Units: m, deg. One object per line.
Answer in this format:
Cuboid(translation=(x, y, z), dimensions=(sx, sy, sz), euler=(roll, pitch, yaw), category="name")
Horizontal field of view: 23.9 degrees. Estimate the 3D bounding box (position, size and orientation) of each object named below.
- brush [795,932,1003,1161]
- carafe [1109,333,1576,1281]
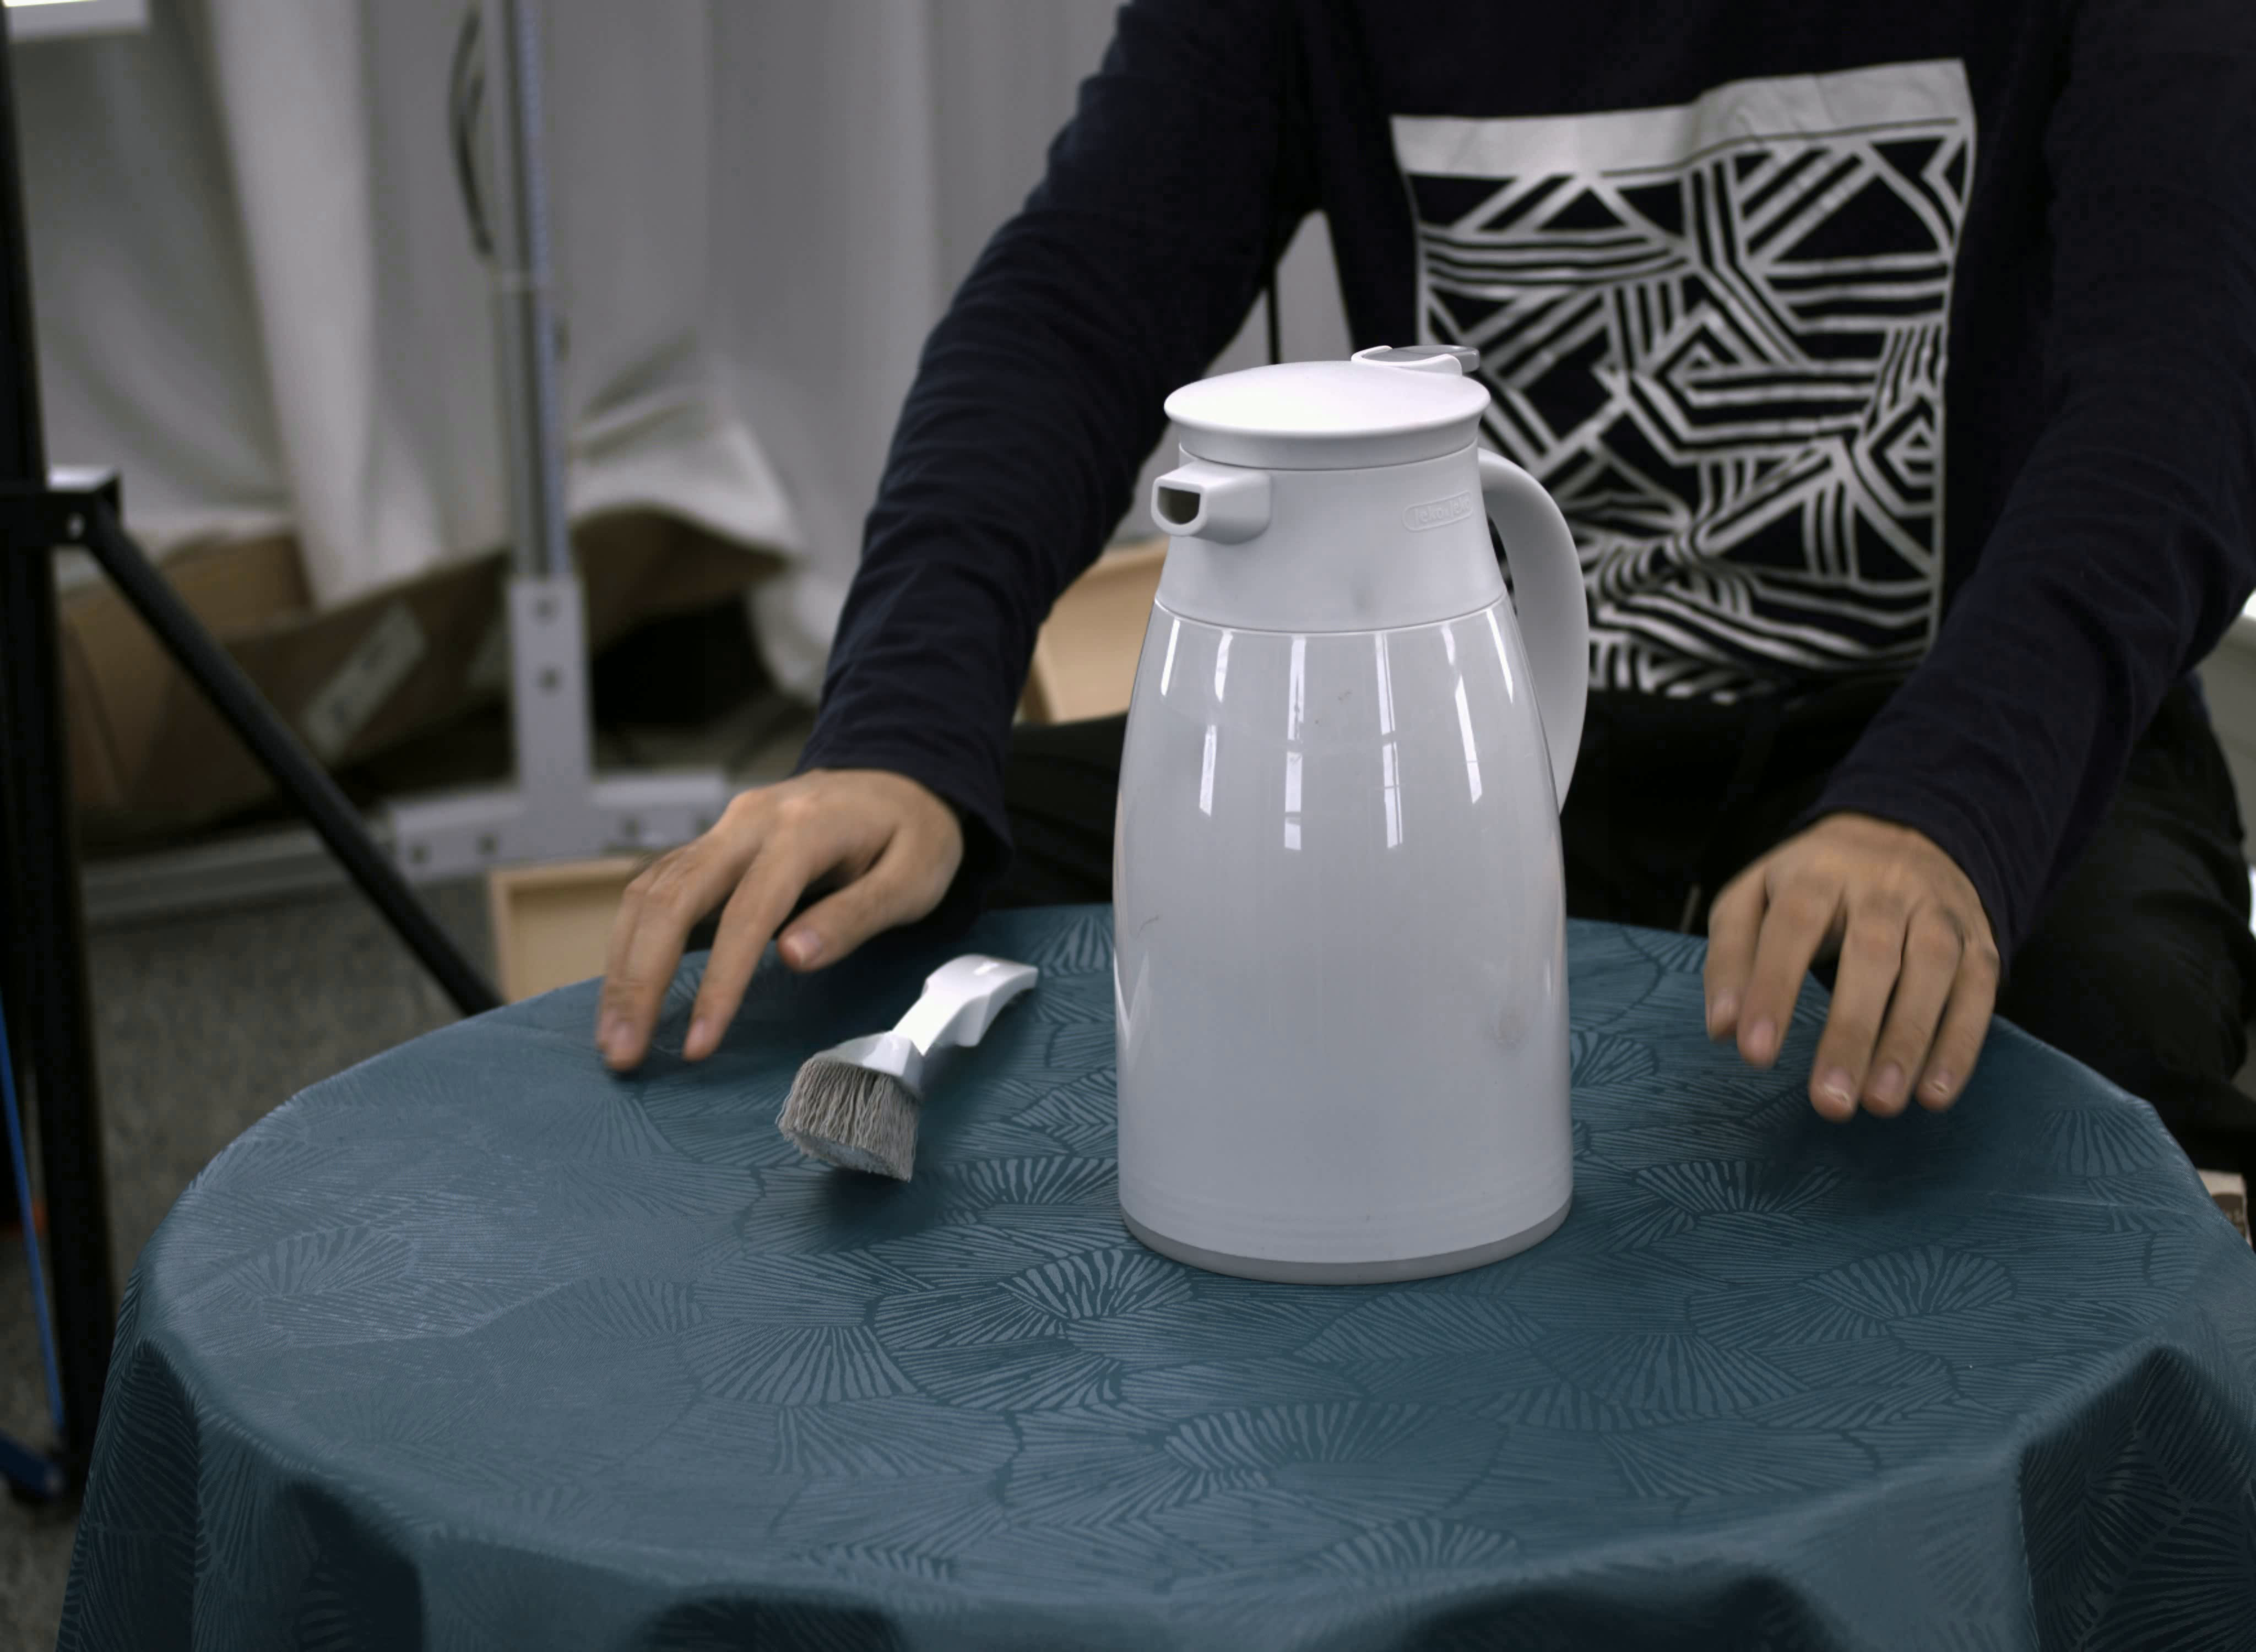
Cuboid(translation=(-0.067, 0.069, 1.650), dimensions=(0.034, 0.050, 0.242), euler=(7, 6, 6), category="brush")
Cuboid(translation=(0.070, -0.014, 1.524), dimensions=(0.135, 0.248, 0.164), euler=(11, 19, 41), category="carafe")
